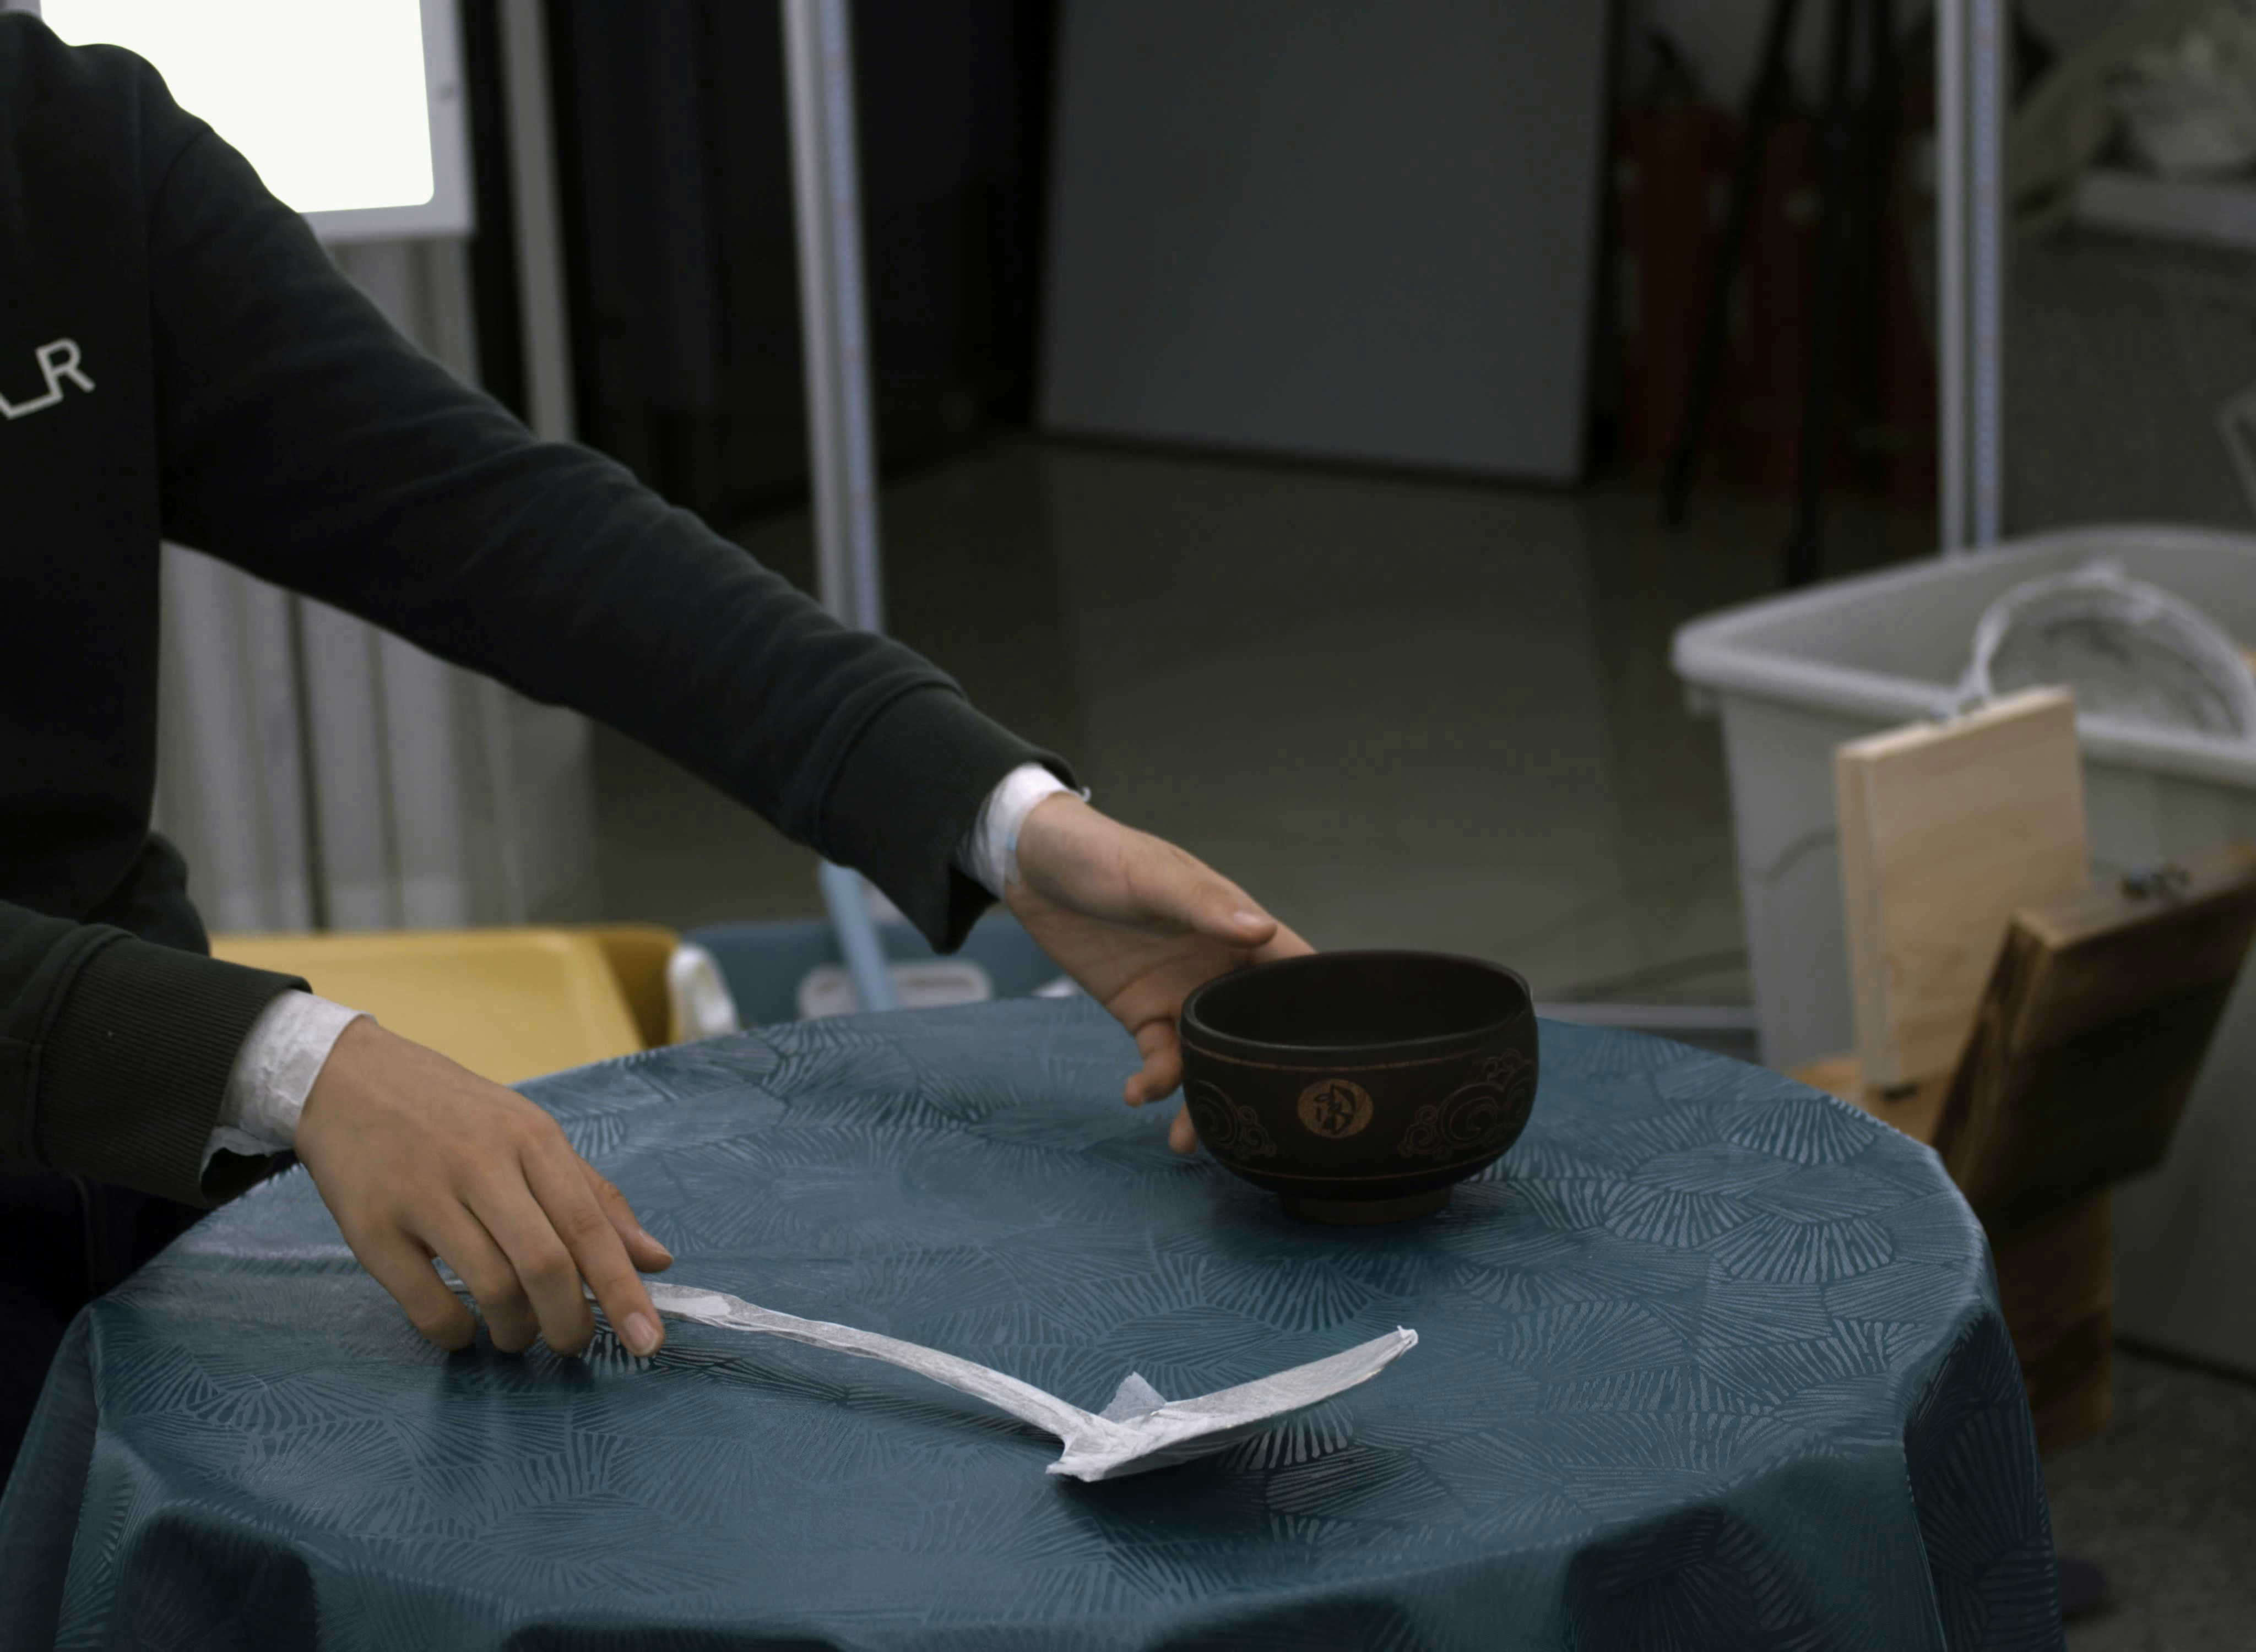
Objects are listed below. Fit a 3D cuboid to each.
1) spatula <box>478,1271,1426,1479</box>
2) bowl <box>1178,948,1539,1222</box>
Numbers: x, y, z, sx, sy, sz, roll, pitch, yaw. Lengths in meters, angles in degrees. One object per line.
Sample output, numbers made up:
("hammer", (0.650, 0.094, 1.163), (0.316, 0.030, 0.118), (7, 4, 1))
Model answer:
("spatula", (-0.073, 0.150, 1.595), (0.368, 0.045, 0.097), (8, 20, 40))
("bowl", (0.075, 0.087, 1.739), (0.116, 0.070, 0.118), (-4, 12, 0))
